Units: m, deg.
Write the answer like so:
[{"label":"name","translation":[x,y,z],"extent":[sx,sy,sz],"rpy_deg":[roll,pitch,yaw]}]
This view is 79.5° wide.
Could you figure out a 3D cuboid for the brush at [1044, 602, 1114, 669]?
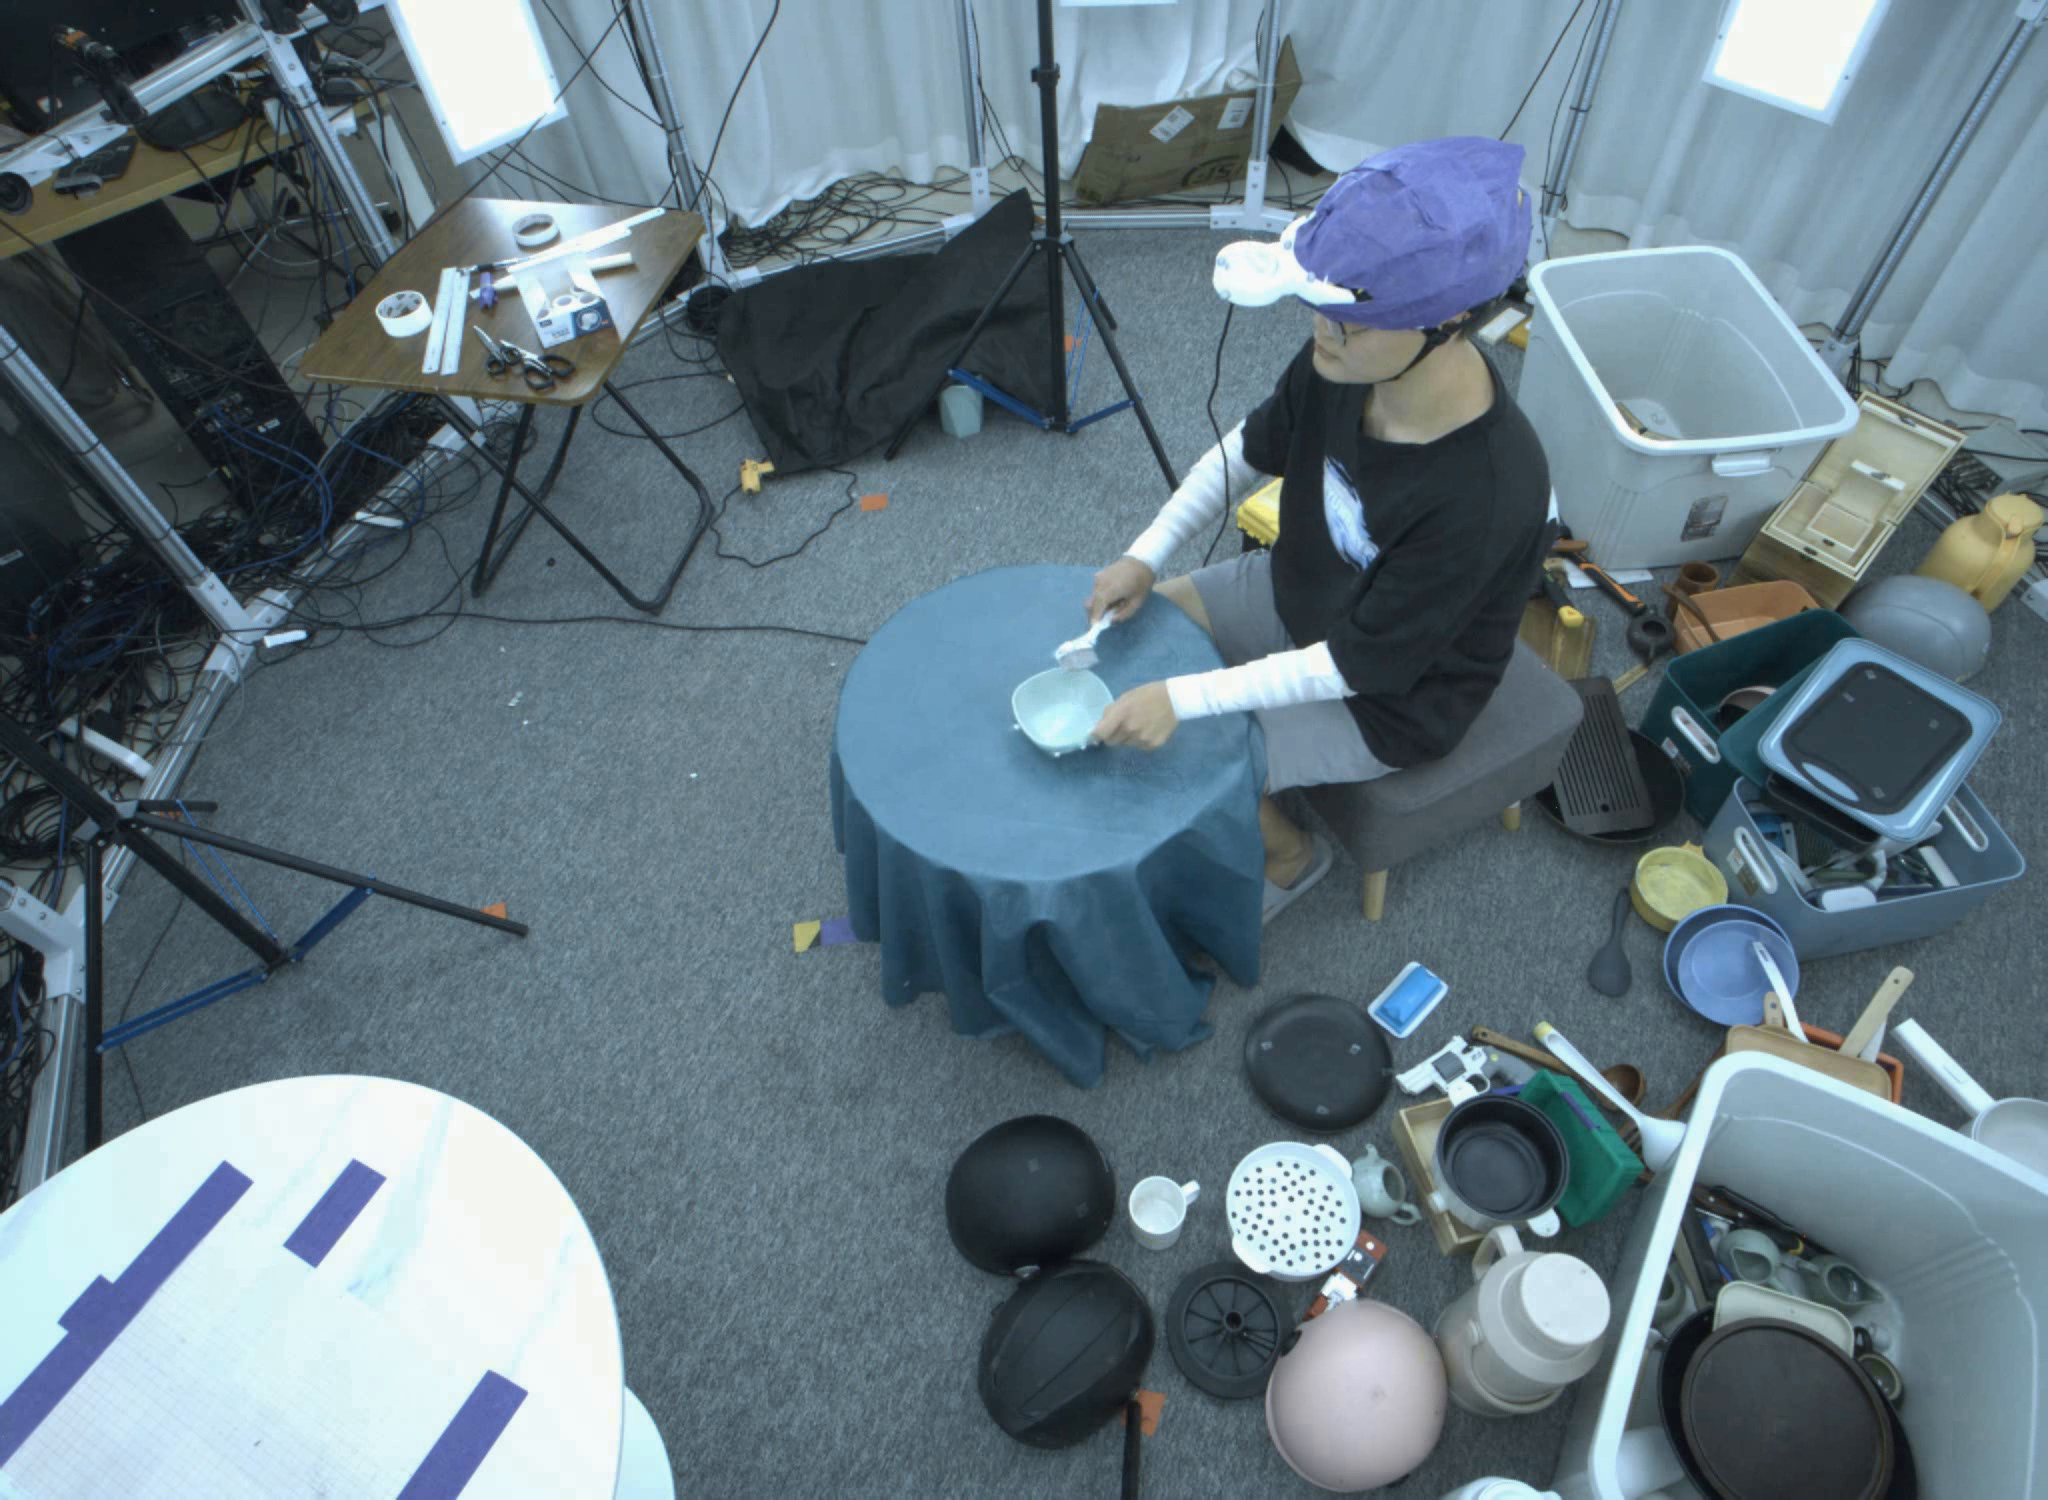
[{"label":"brush","translation":[0.096,-0.170,1.829],"extent":[0.050,0.034,0.245],"rpy_deg":[52,32,-1]}]

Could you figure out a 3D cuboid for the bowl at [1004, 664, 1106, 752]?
[{"label":"bowl","translation":[0.045,-0.052,1.779],"extent":[0.151,0.059,0.150],"rpy_deg":[0,56,2]}]
